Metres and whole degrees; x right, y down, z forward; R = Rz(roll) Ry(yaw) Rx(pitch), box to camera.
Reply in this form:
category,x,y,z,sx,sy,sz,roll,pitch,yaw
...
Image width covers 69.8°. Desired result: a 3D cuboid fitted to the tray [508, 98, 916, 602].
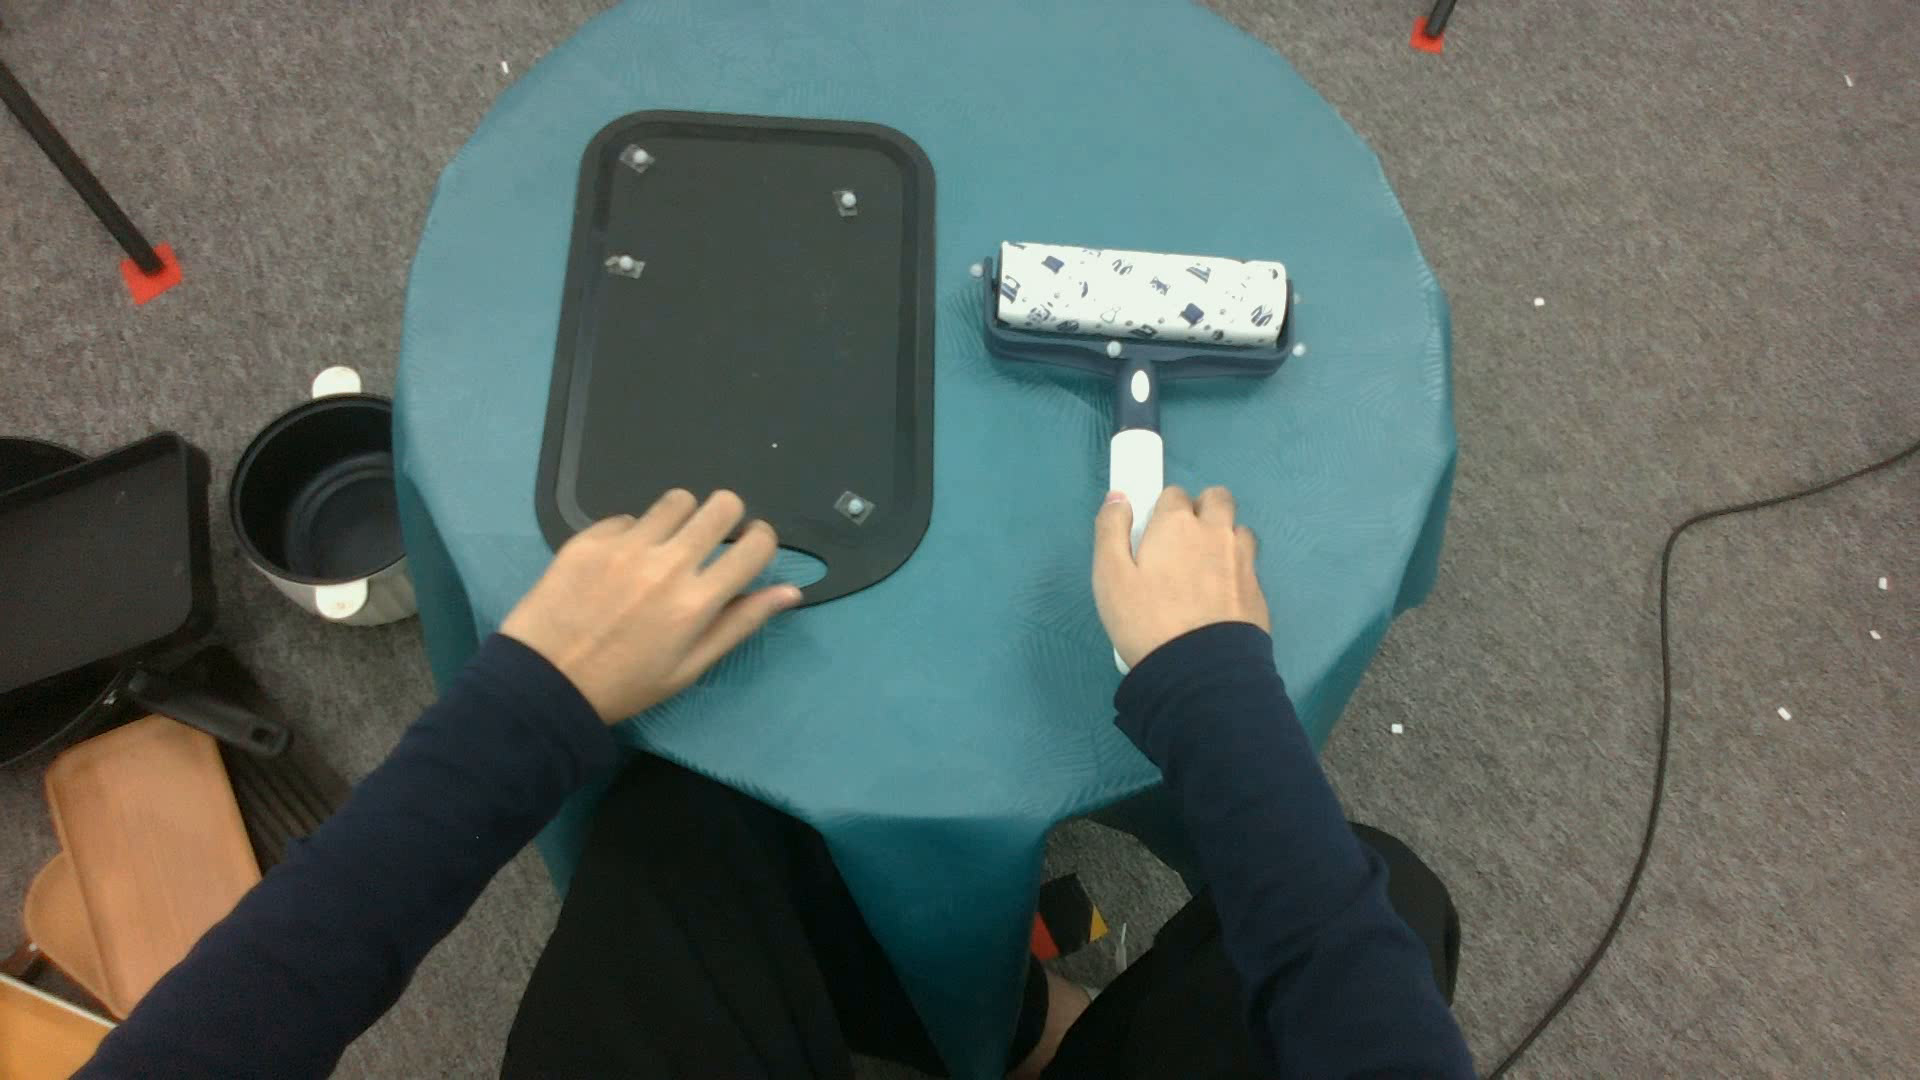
category,x,y,z,sx,sy,sz,roll,pitch,yaw
tray,-0.131,-0.118,0.770,0.211,0.010,0.326,2,65,-5

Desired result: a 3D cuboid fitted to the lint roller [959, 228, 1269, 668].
category,x,y,z,sx,sy,sz,roll,pitch,yaw
lint roller,0.085,-0.054,0.746,0.176,0.050,0.248,3,68,-5
